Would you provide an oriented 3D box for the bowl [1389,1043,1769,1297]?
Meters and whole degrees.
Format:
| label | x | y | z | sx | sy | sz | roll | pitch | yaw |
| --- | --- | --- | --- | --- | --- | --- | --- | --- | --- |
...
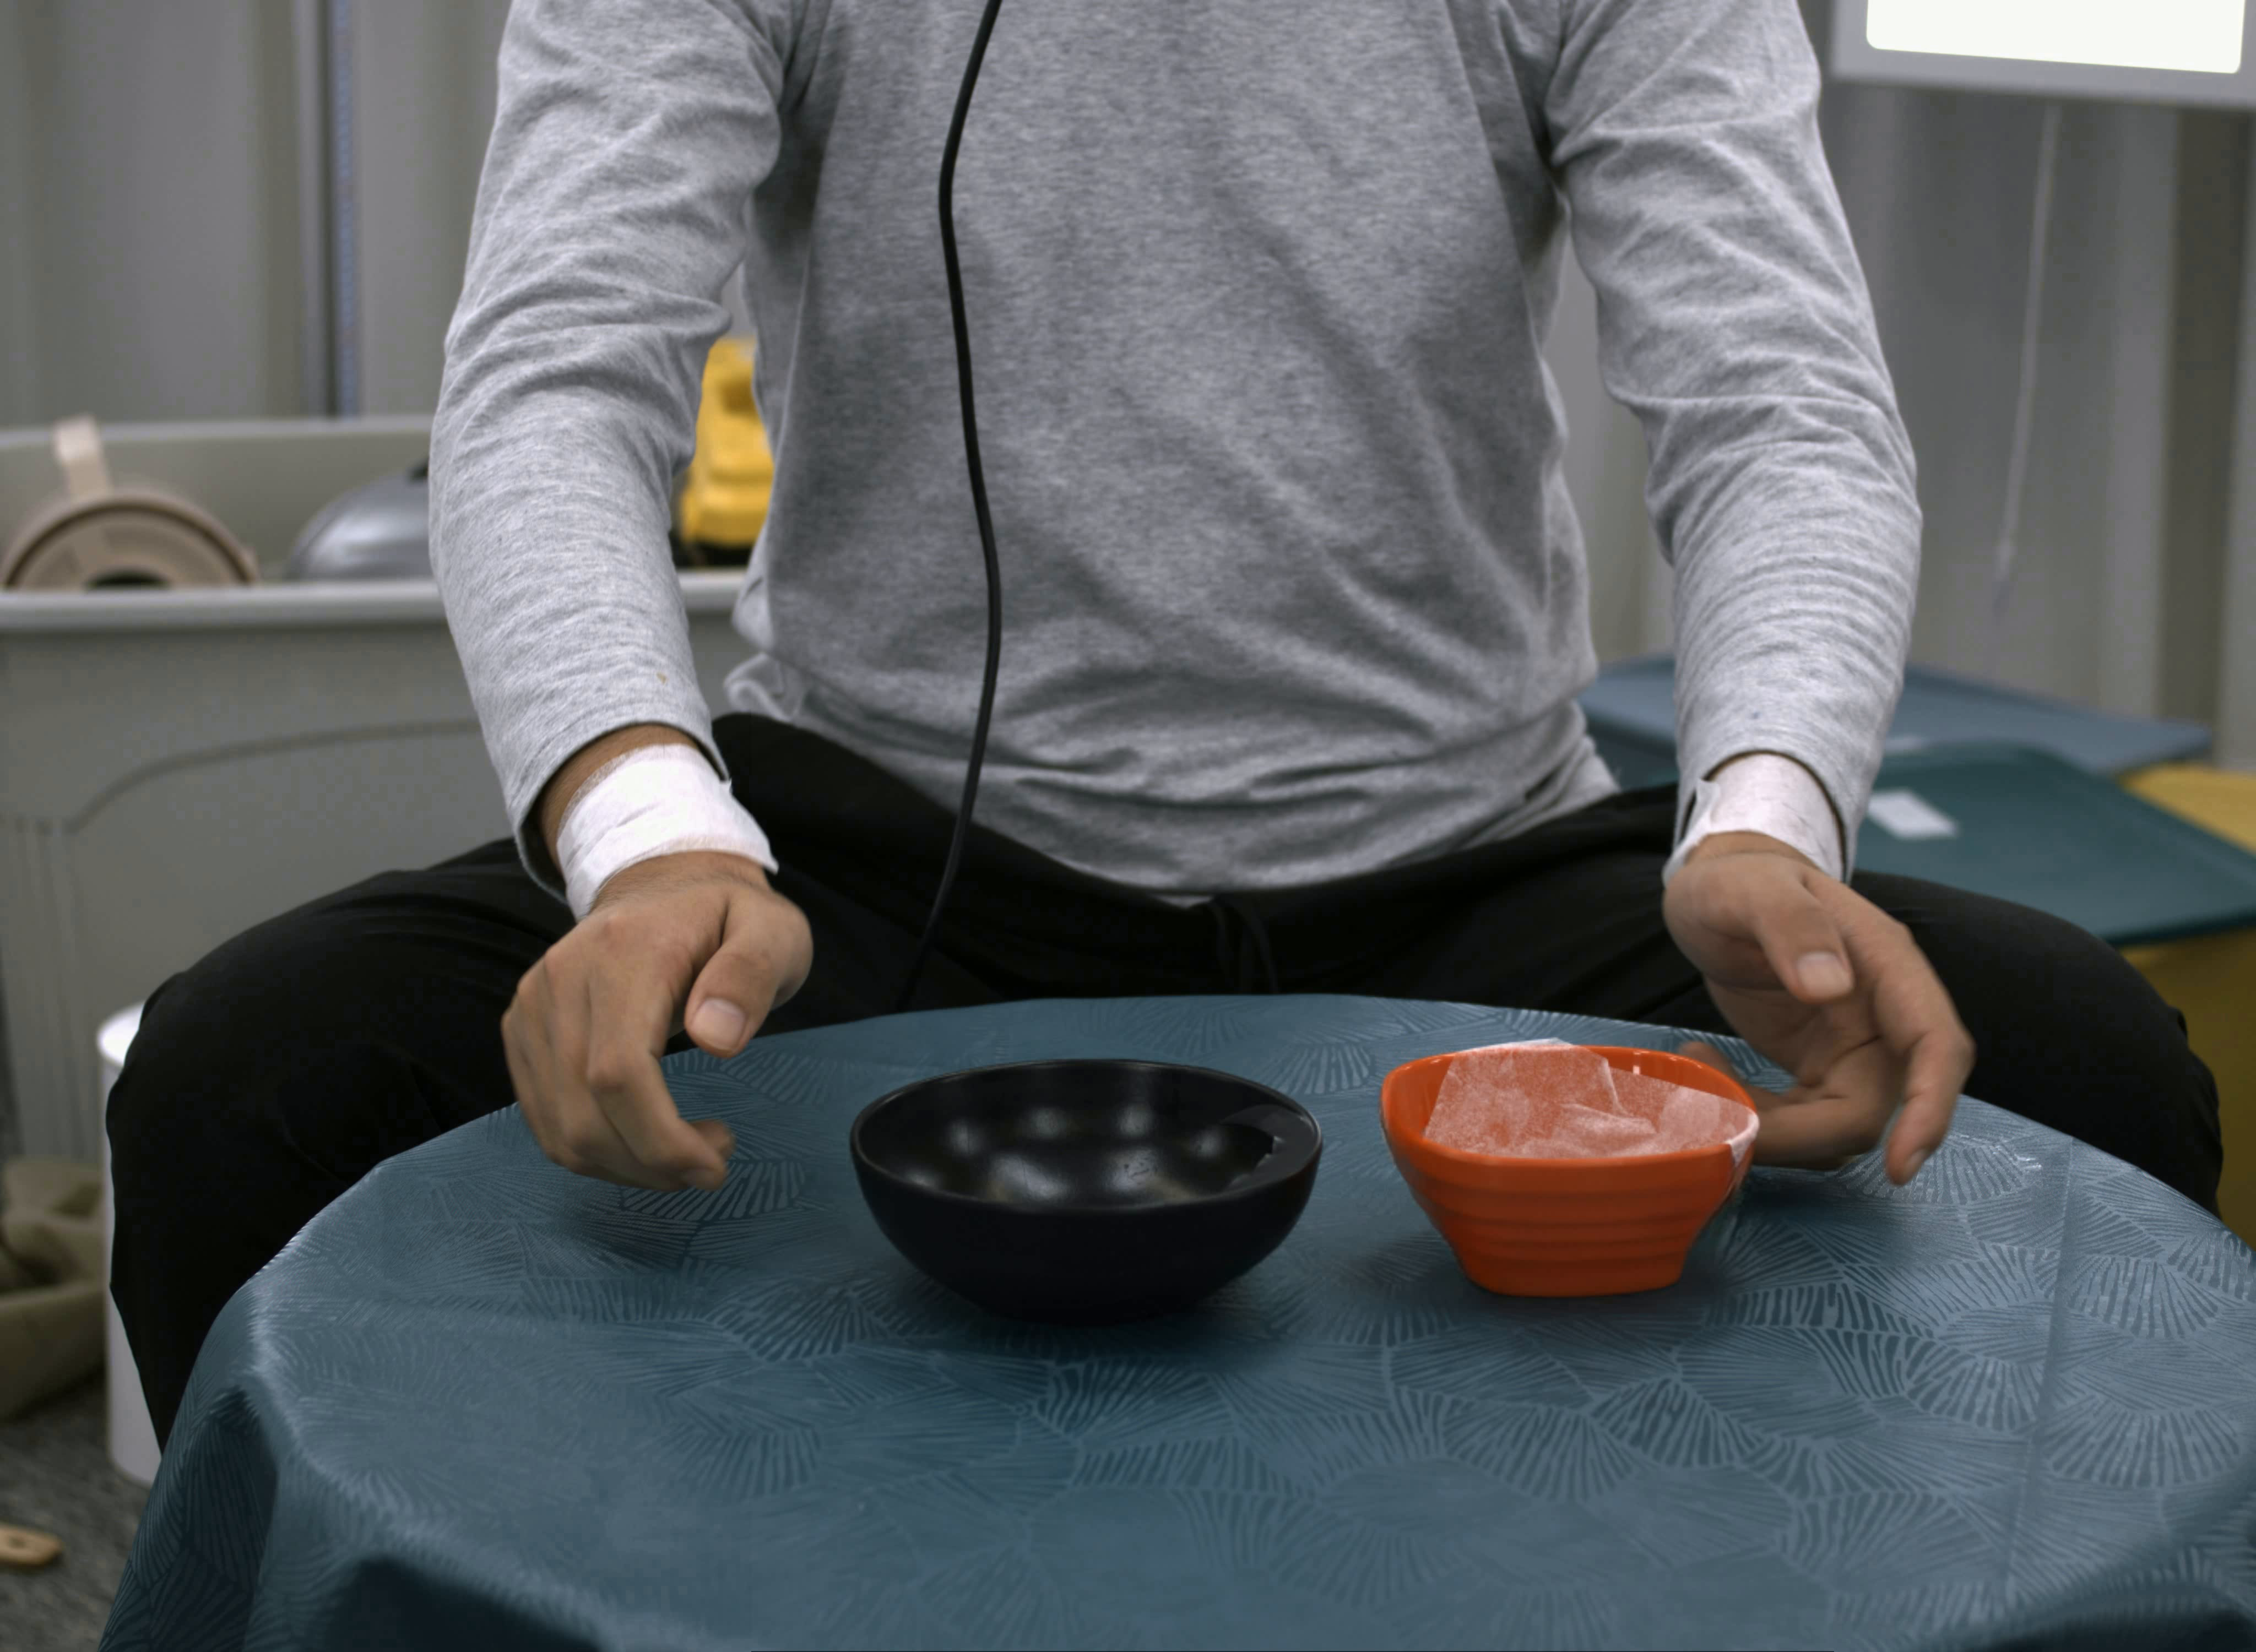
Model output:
| label | x | y | z | sx | sy | sz | roll | pitch | yaw |
| --- | --- | --- | --- | --- | --- | --- | --- | --- | --- |
| bowl | 0.133 | 0.104 | 1.562 | 0.118 | 0.052 | 0.118 | -1 | 16 | 1 |

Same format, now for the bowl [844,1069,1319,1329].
| label | x | y | z | sx | sy | sz | roll | pitch | yaw |
| --- | --- | --- | --- | --- | --- | --- | --- | --- | --- |
| bowl | -0.013 | 0.113 | 1.536 | 0.139 | 0.050 | 0.139 | 1 | 13 | 0 |
